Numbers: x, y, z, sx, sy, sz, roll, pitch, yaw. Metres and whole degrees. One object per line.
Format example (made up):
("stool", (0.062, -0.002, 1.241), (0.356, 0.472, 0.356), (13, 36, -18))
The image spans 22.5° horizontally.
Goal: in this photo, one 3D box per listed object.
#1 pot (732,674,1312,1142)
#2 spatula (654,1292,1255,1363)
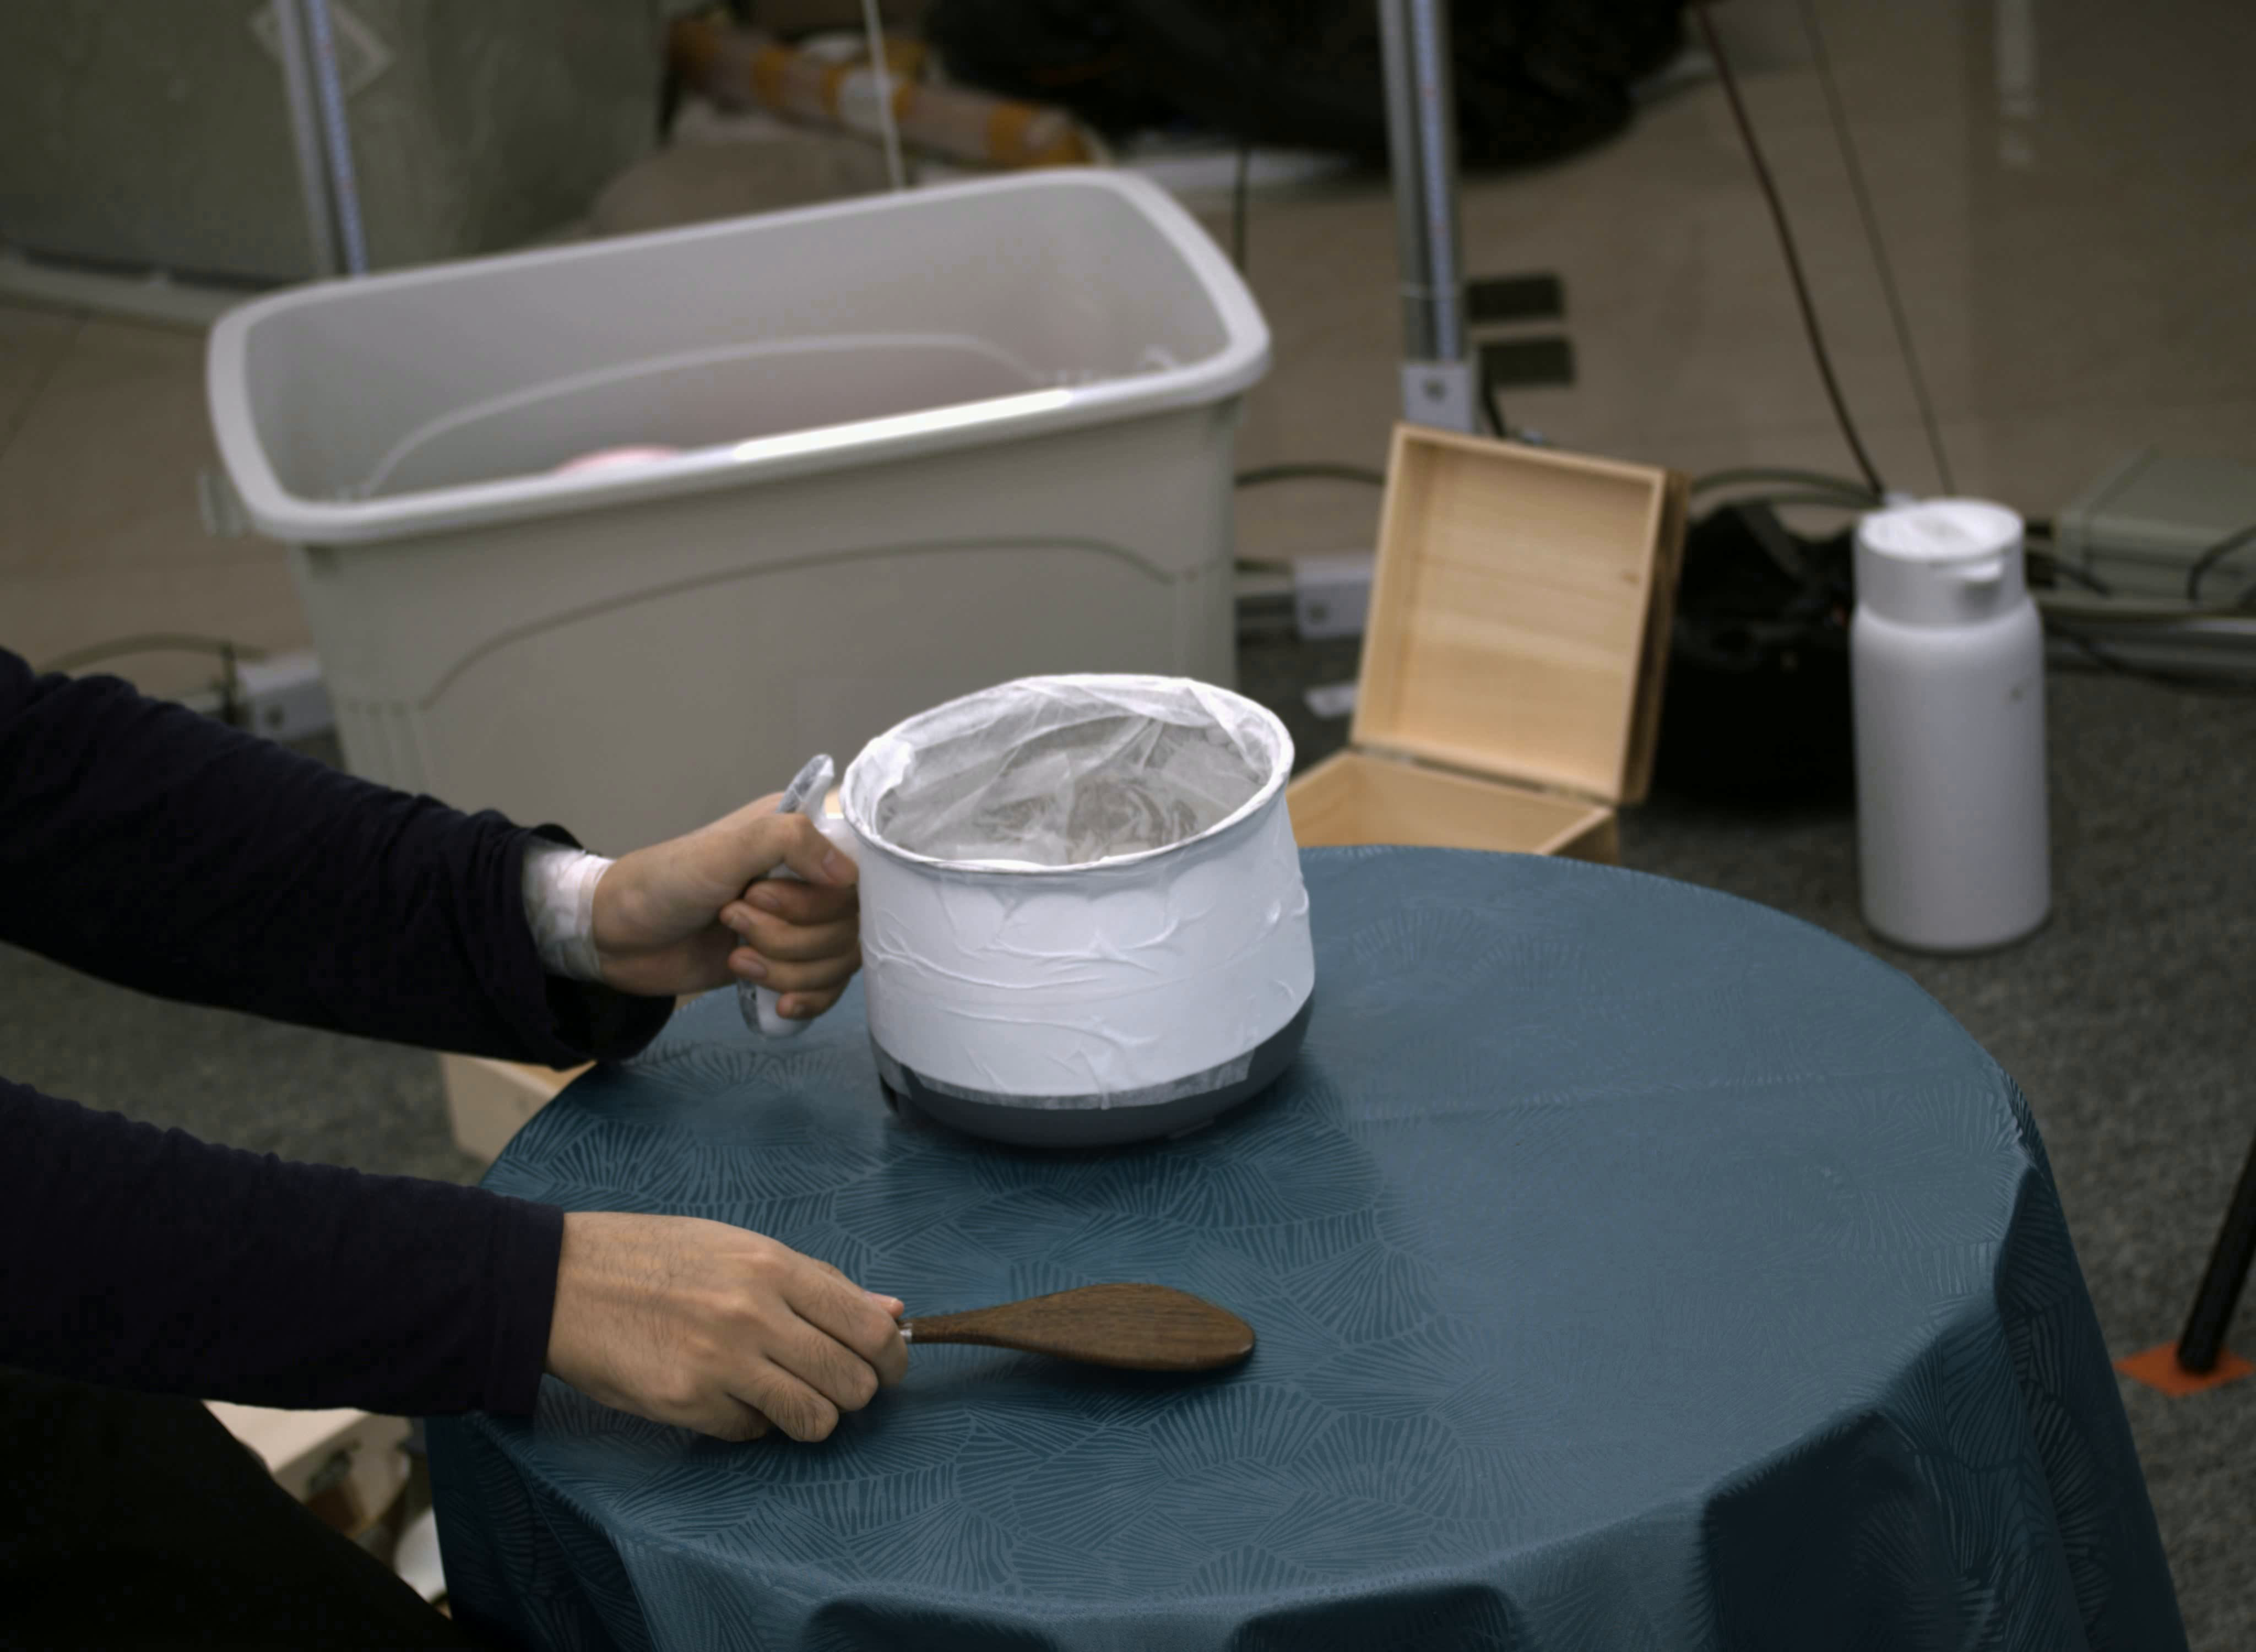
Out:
("pot", (-0.045, 0.033, 2.216), (0.233, 0.139, 0.176), (1, 25, 12))
("spatula", (-0.062, 0.183, 2.032), (0.215, 0.009, 0.071), (-1, 15, -4))
